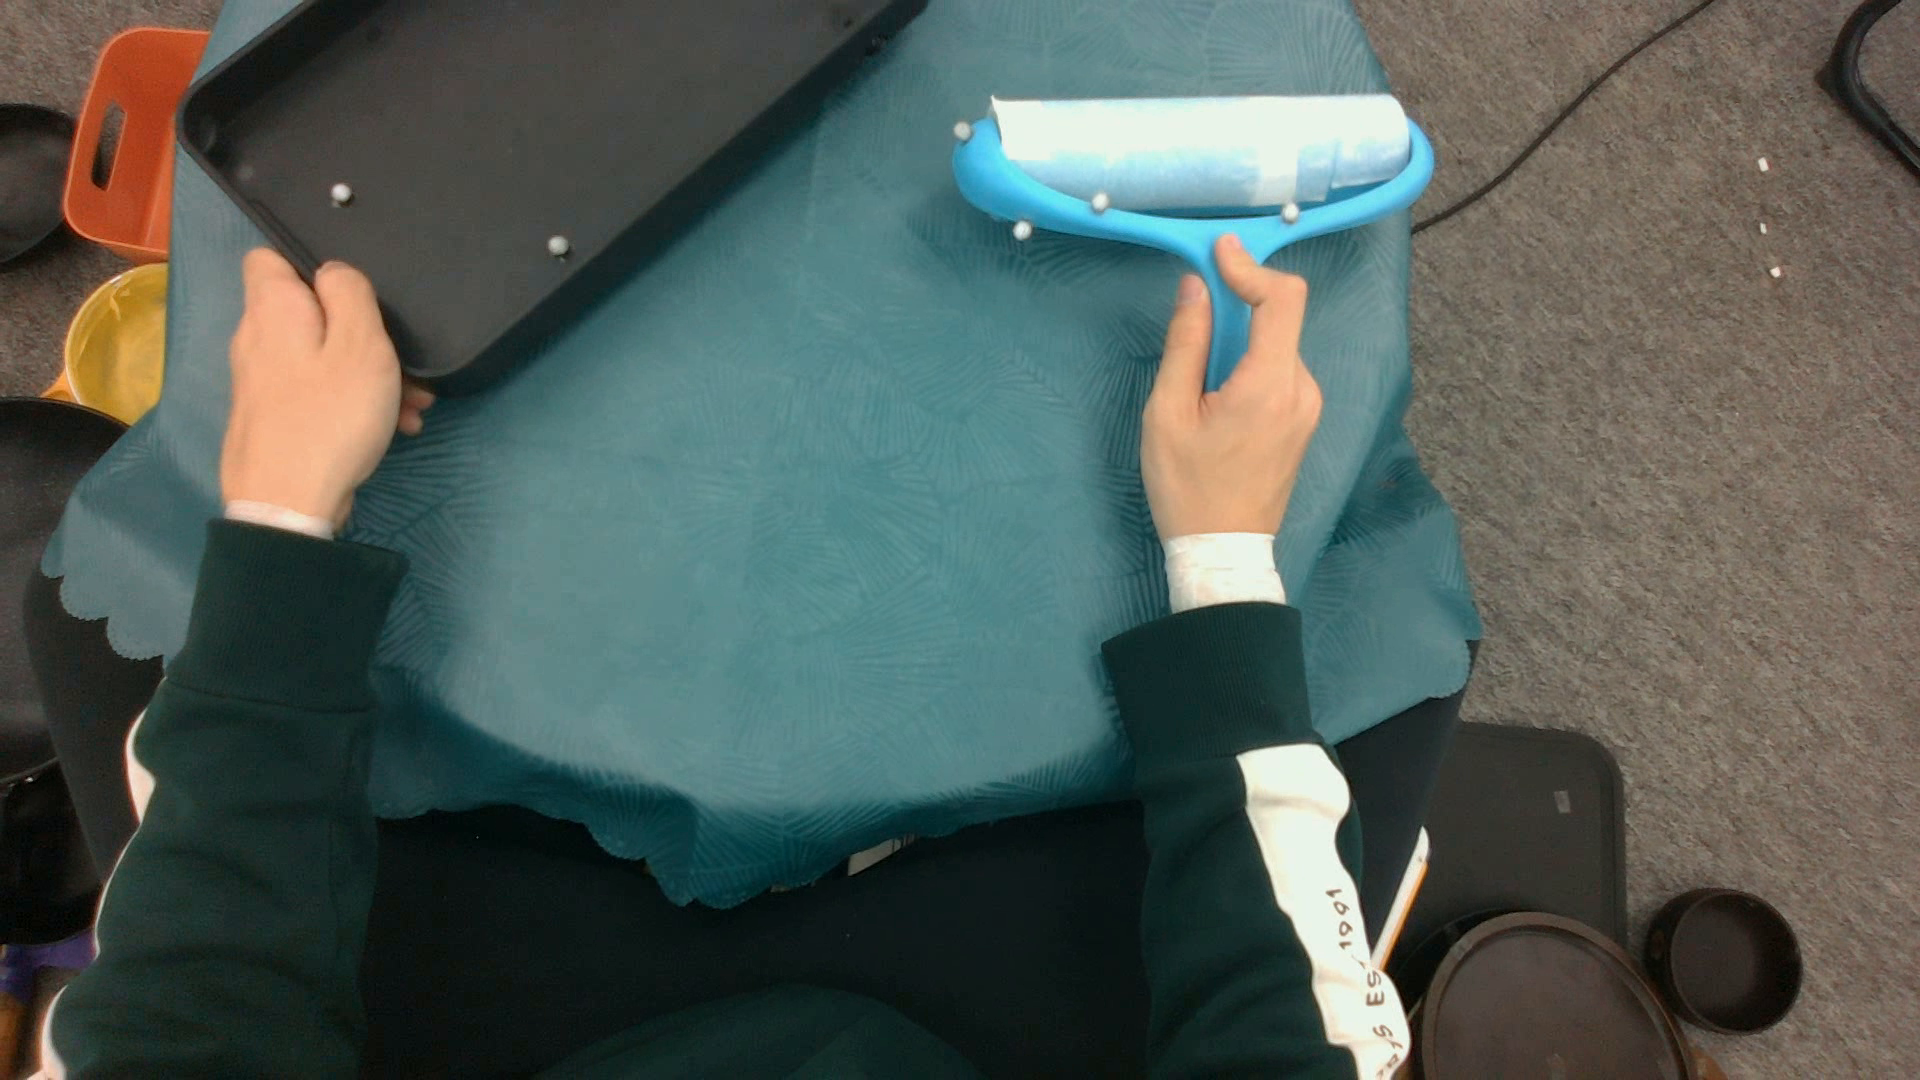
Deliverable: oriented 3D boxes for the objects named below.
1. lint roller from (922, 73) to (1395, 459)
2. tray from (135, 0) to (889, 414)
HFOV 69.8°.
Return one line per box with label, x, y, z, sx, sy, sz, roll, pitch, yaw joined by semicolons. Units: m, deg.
lint roller;0.106;-0.133;0.641;0.229;0.068;0.180;-8;78;-12
tray;-0.194;-0.220;0.636;0.184;0.037;0.319;41;76;7
